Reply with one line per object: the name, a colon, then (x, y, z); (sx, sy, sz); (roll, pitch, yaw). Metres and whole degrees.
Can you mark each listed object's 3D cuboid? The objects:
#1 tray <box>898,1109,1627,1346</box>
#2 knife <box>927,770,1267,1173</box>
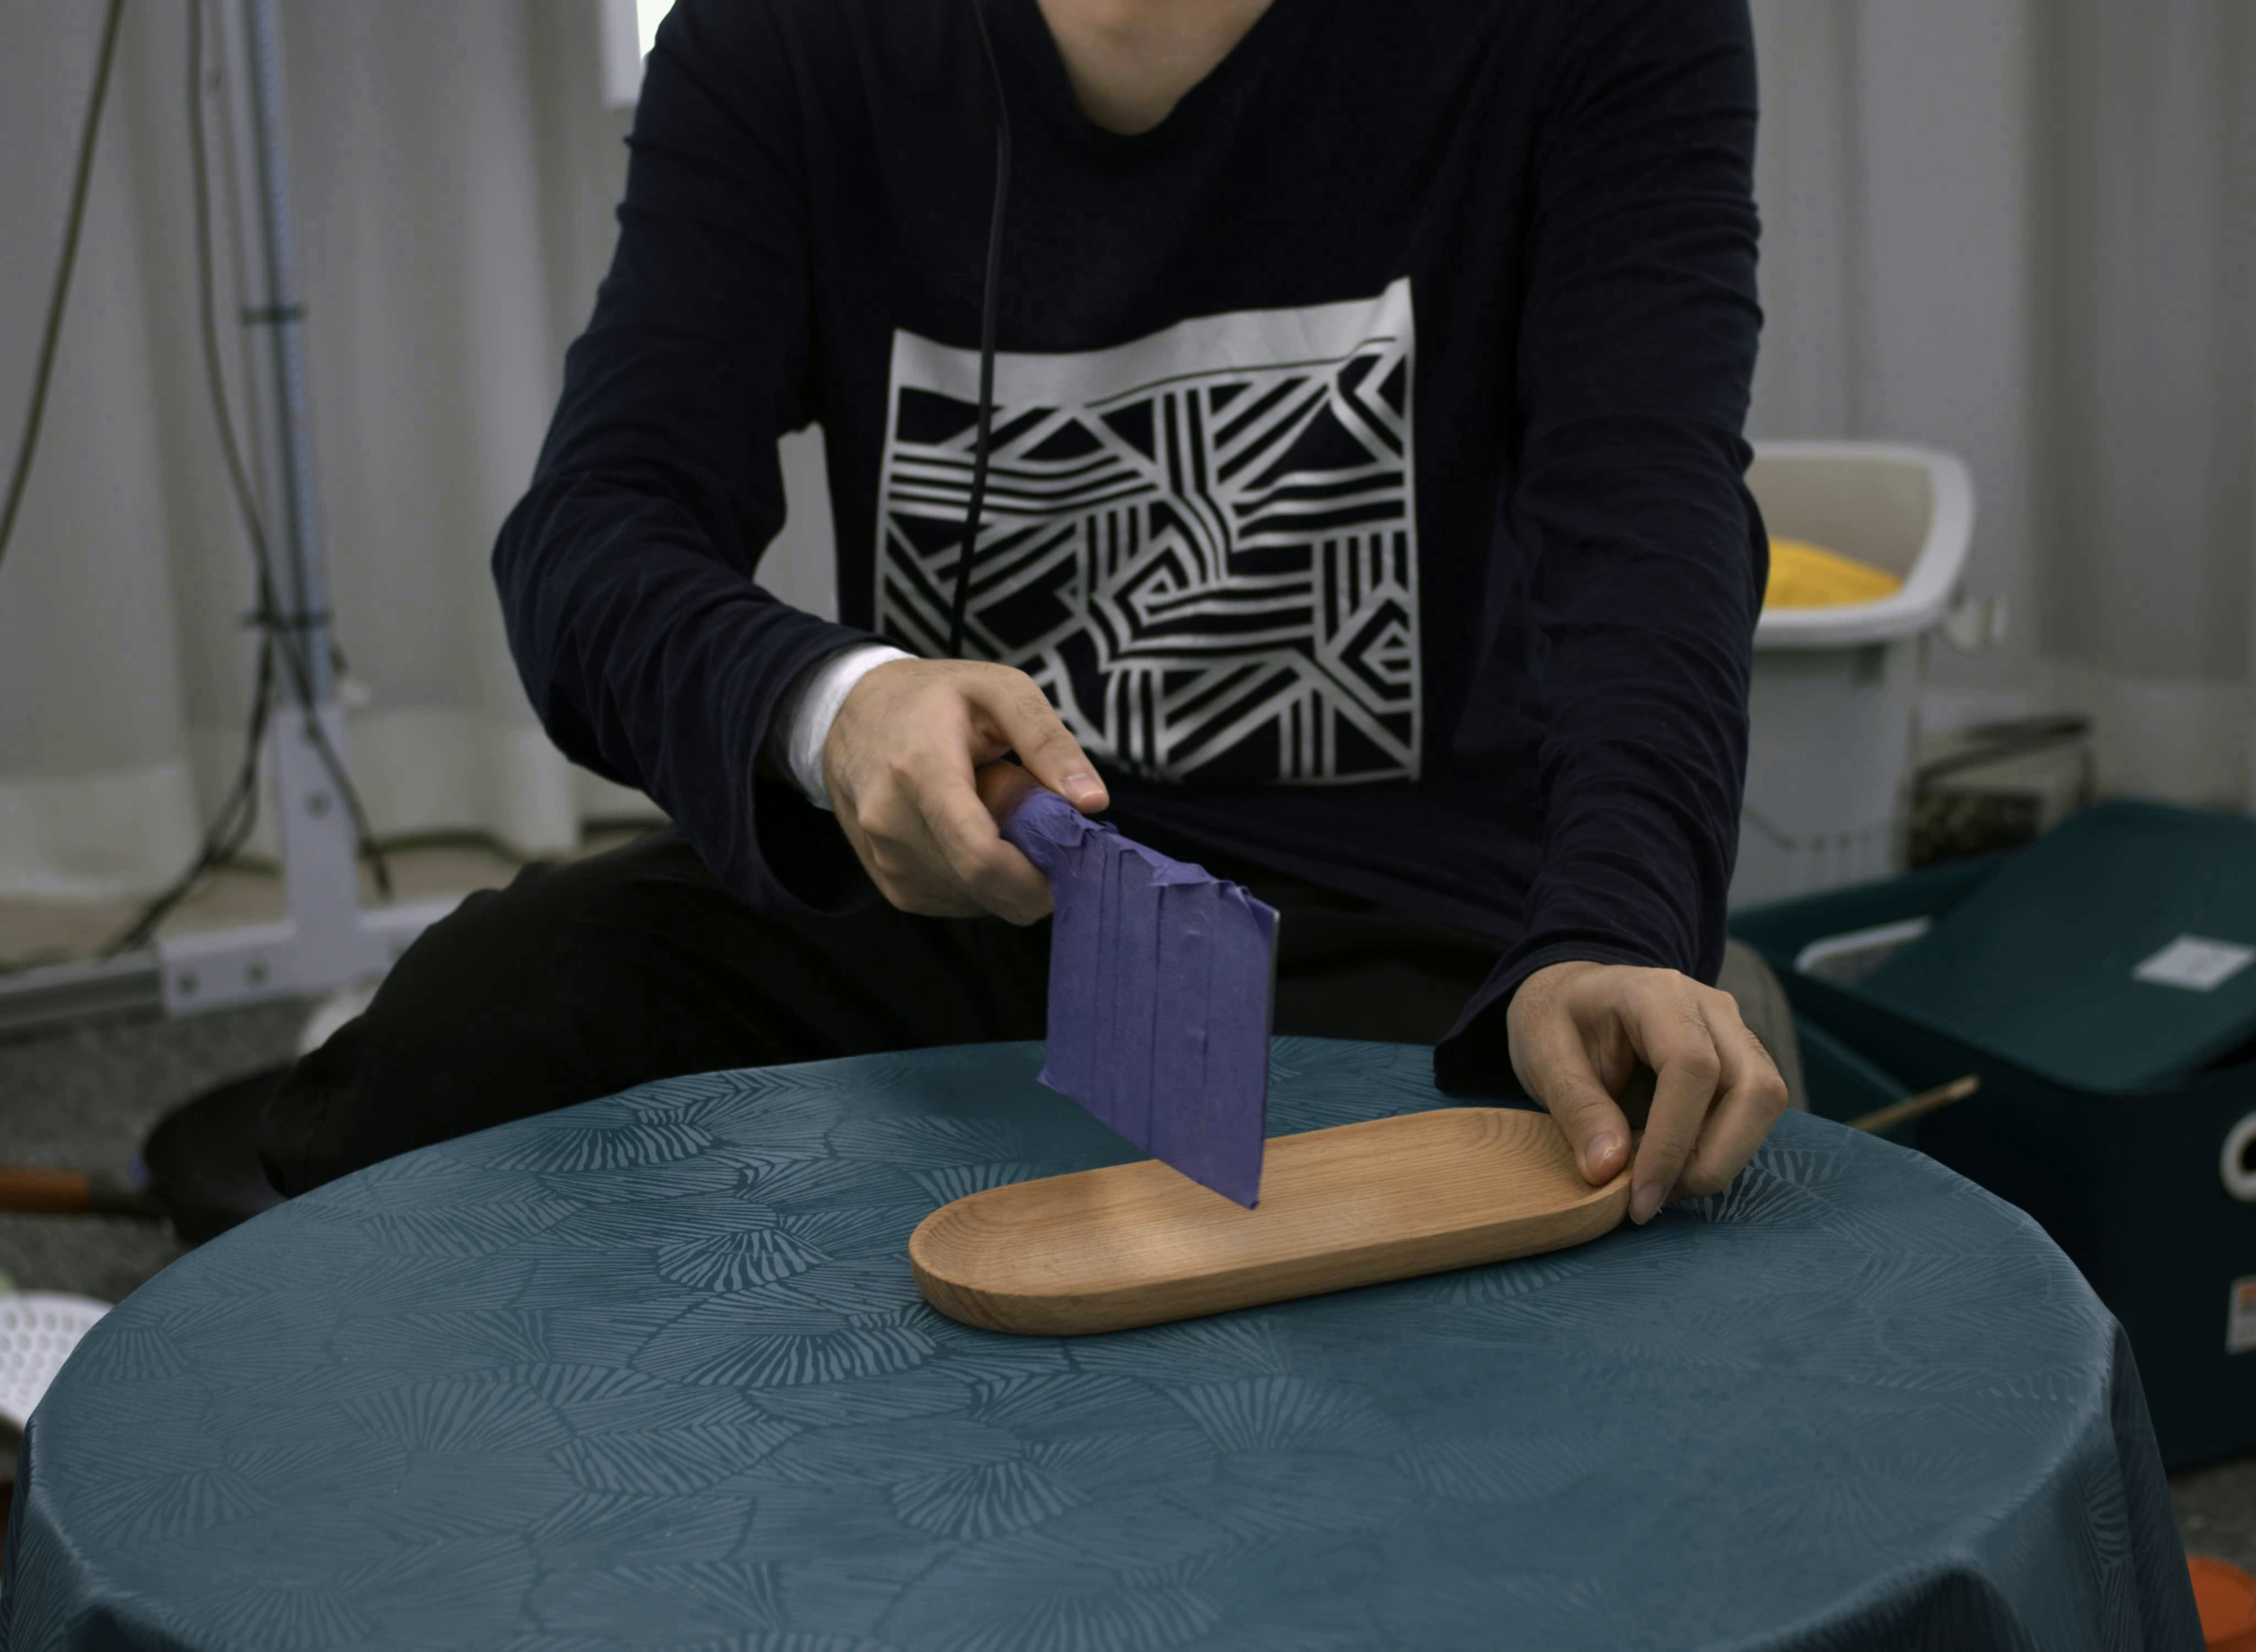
tray: (0.042, 0.121, 1.654); (0.230, 0.020, 0.102); (-11, 16, -20)
knife: (-0.013, 0.043, 1.691); (0.032, 0.104, 0.317); (4, 6, -16)
